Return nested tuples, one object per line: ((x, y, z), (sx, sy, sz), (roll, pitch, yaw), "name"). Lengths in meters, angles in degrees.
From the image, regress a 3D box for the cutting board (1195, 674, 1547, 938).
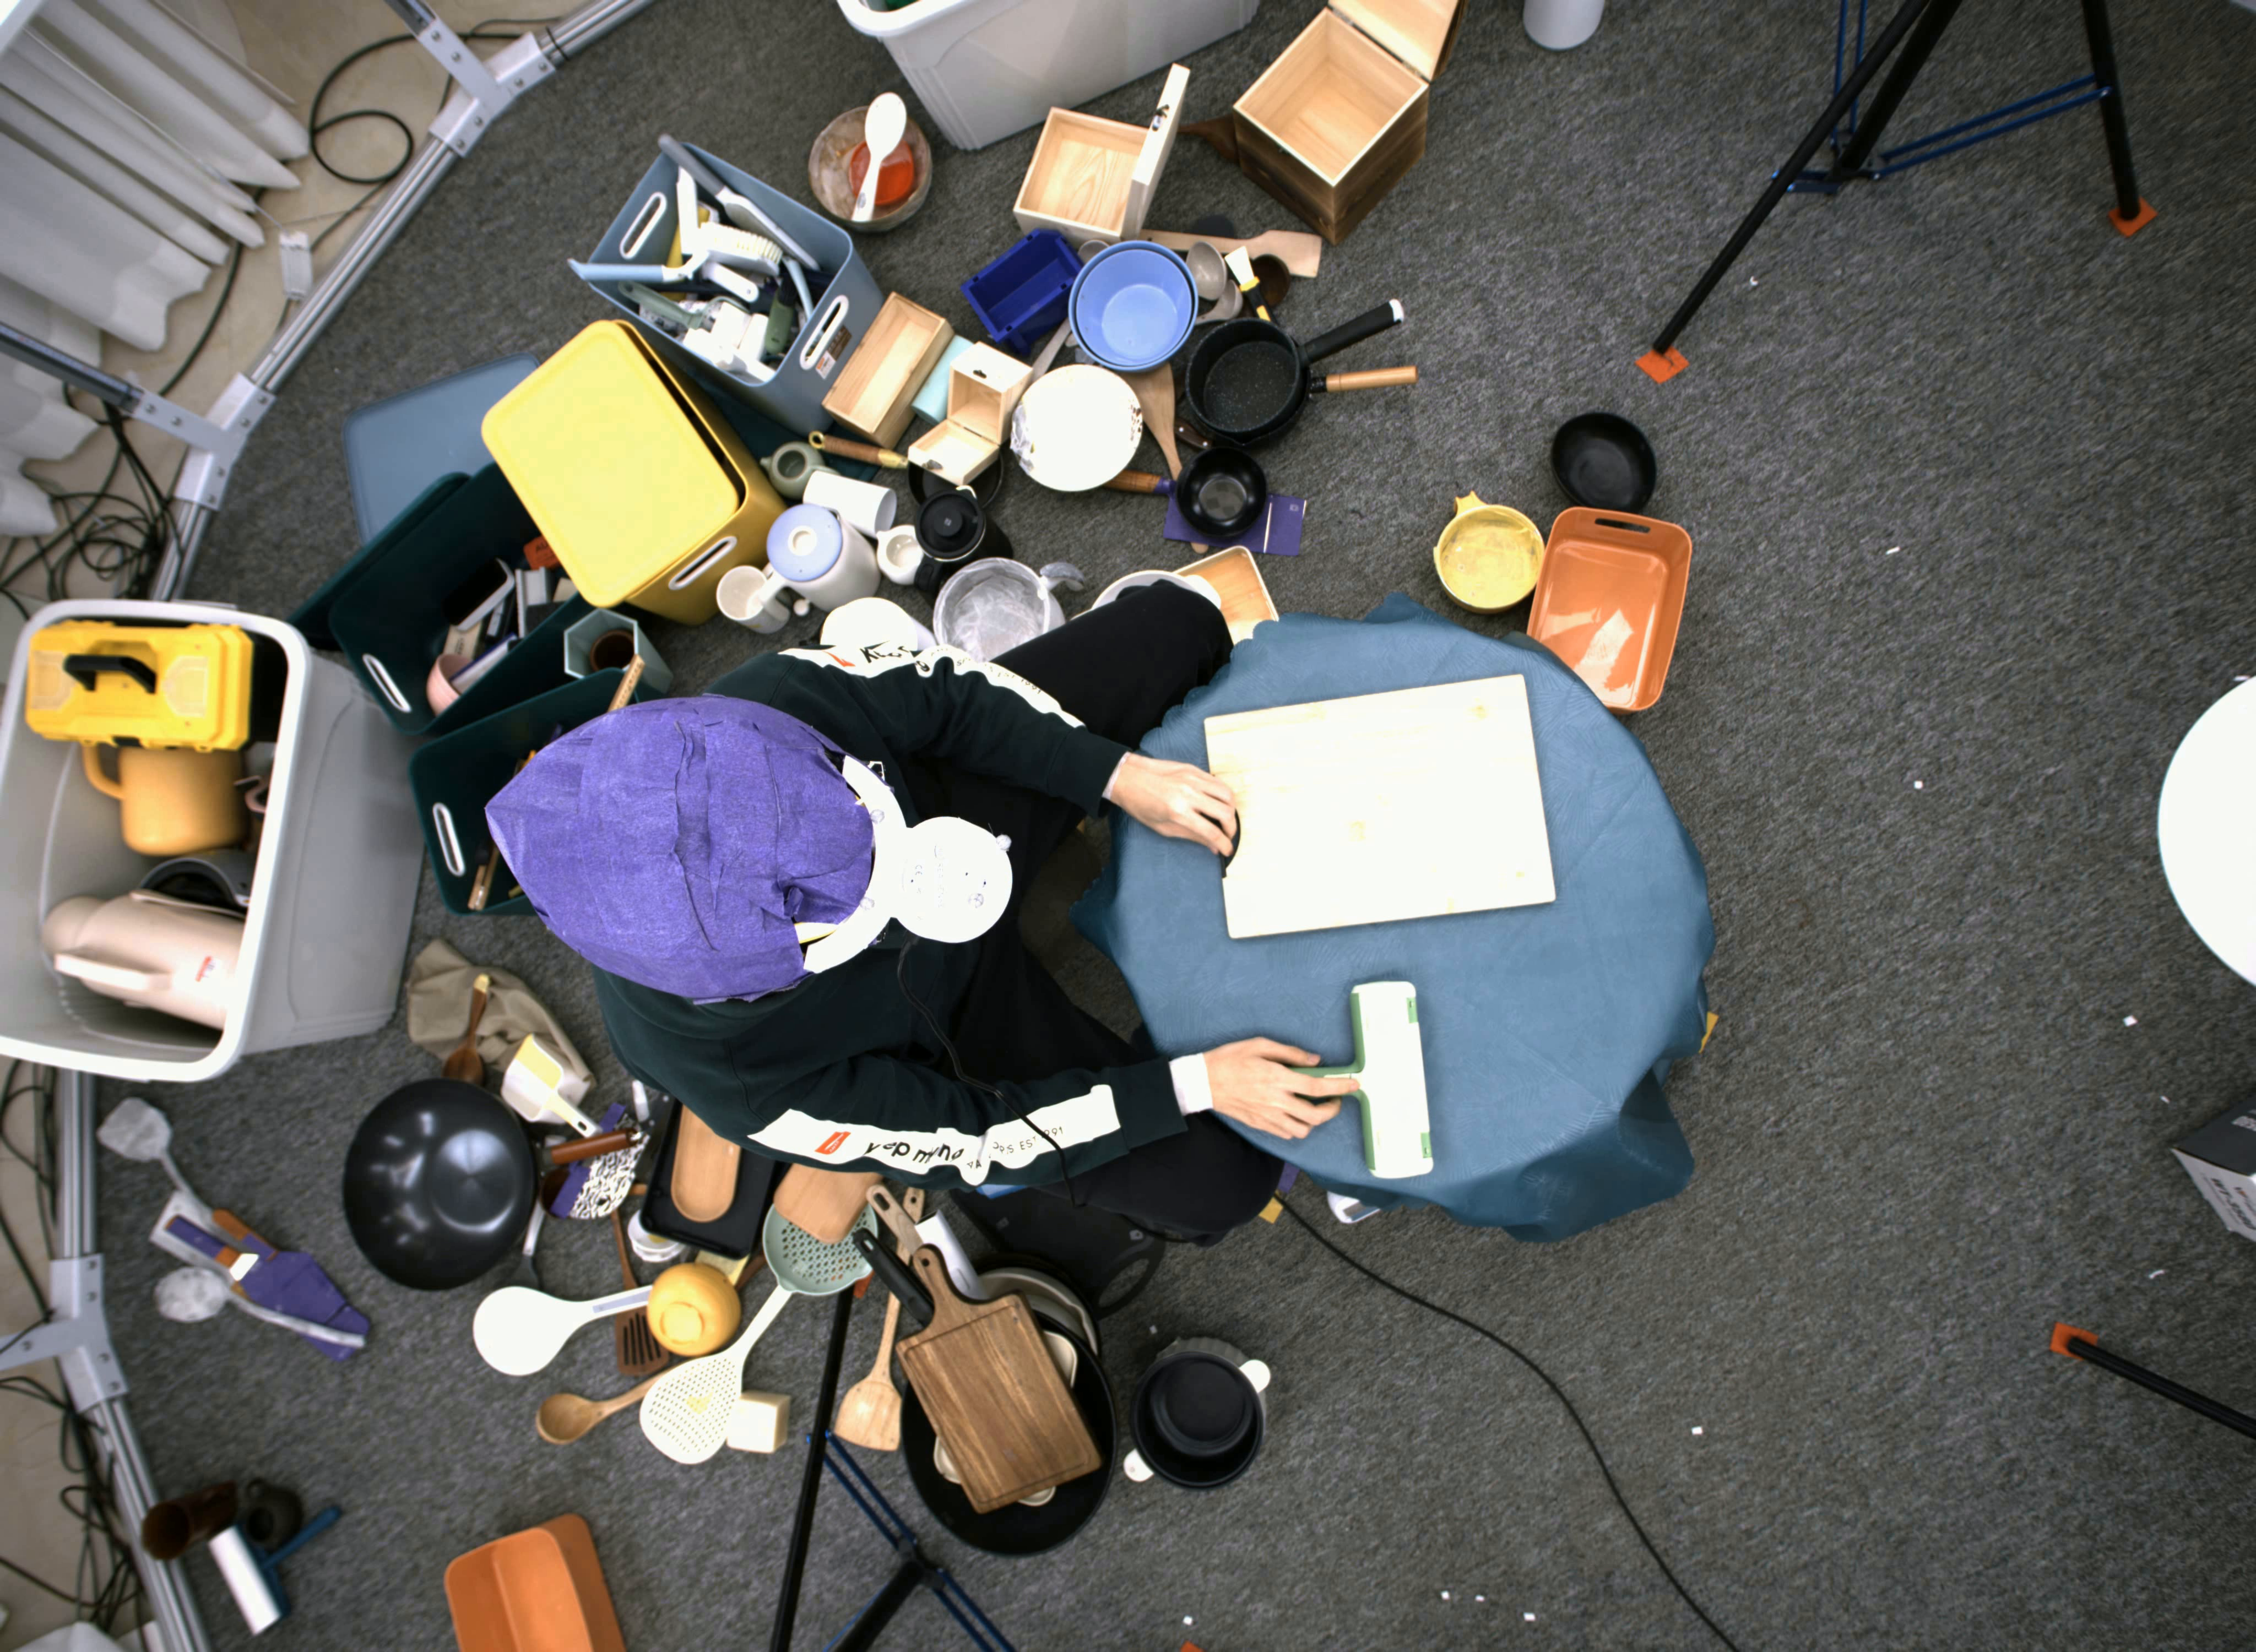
((0.256, -0.021, 1.455), (0.350, 0.023, 0.249), (-8, 85, 10), "cutting board")

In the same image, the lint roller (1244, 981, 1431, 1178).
((0.209, 0.262, 1.416), (0.184, 0.082, 0.197), (-5, 86, 7), "lint roller")
